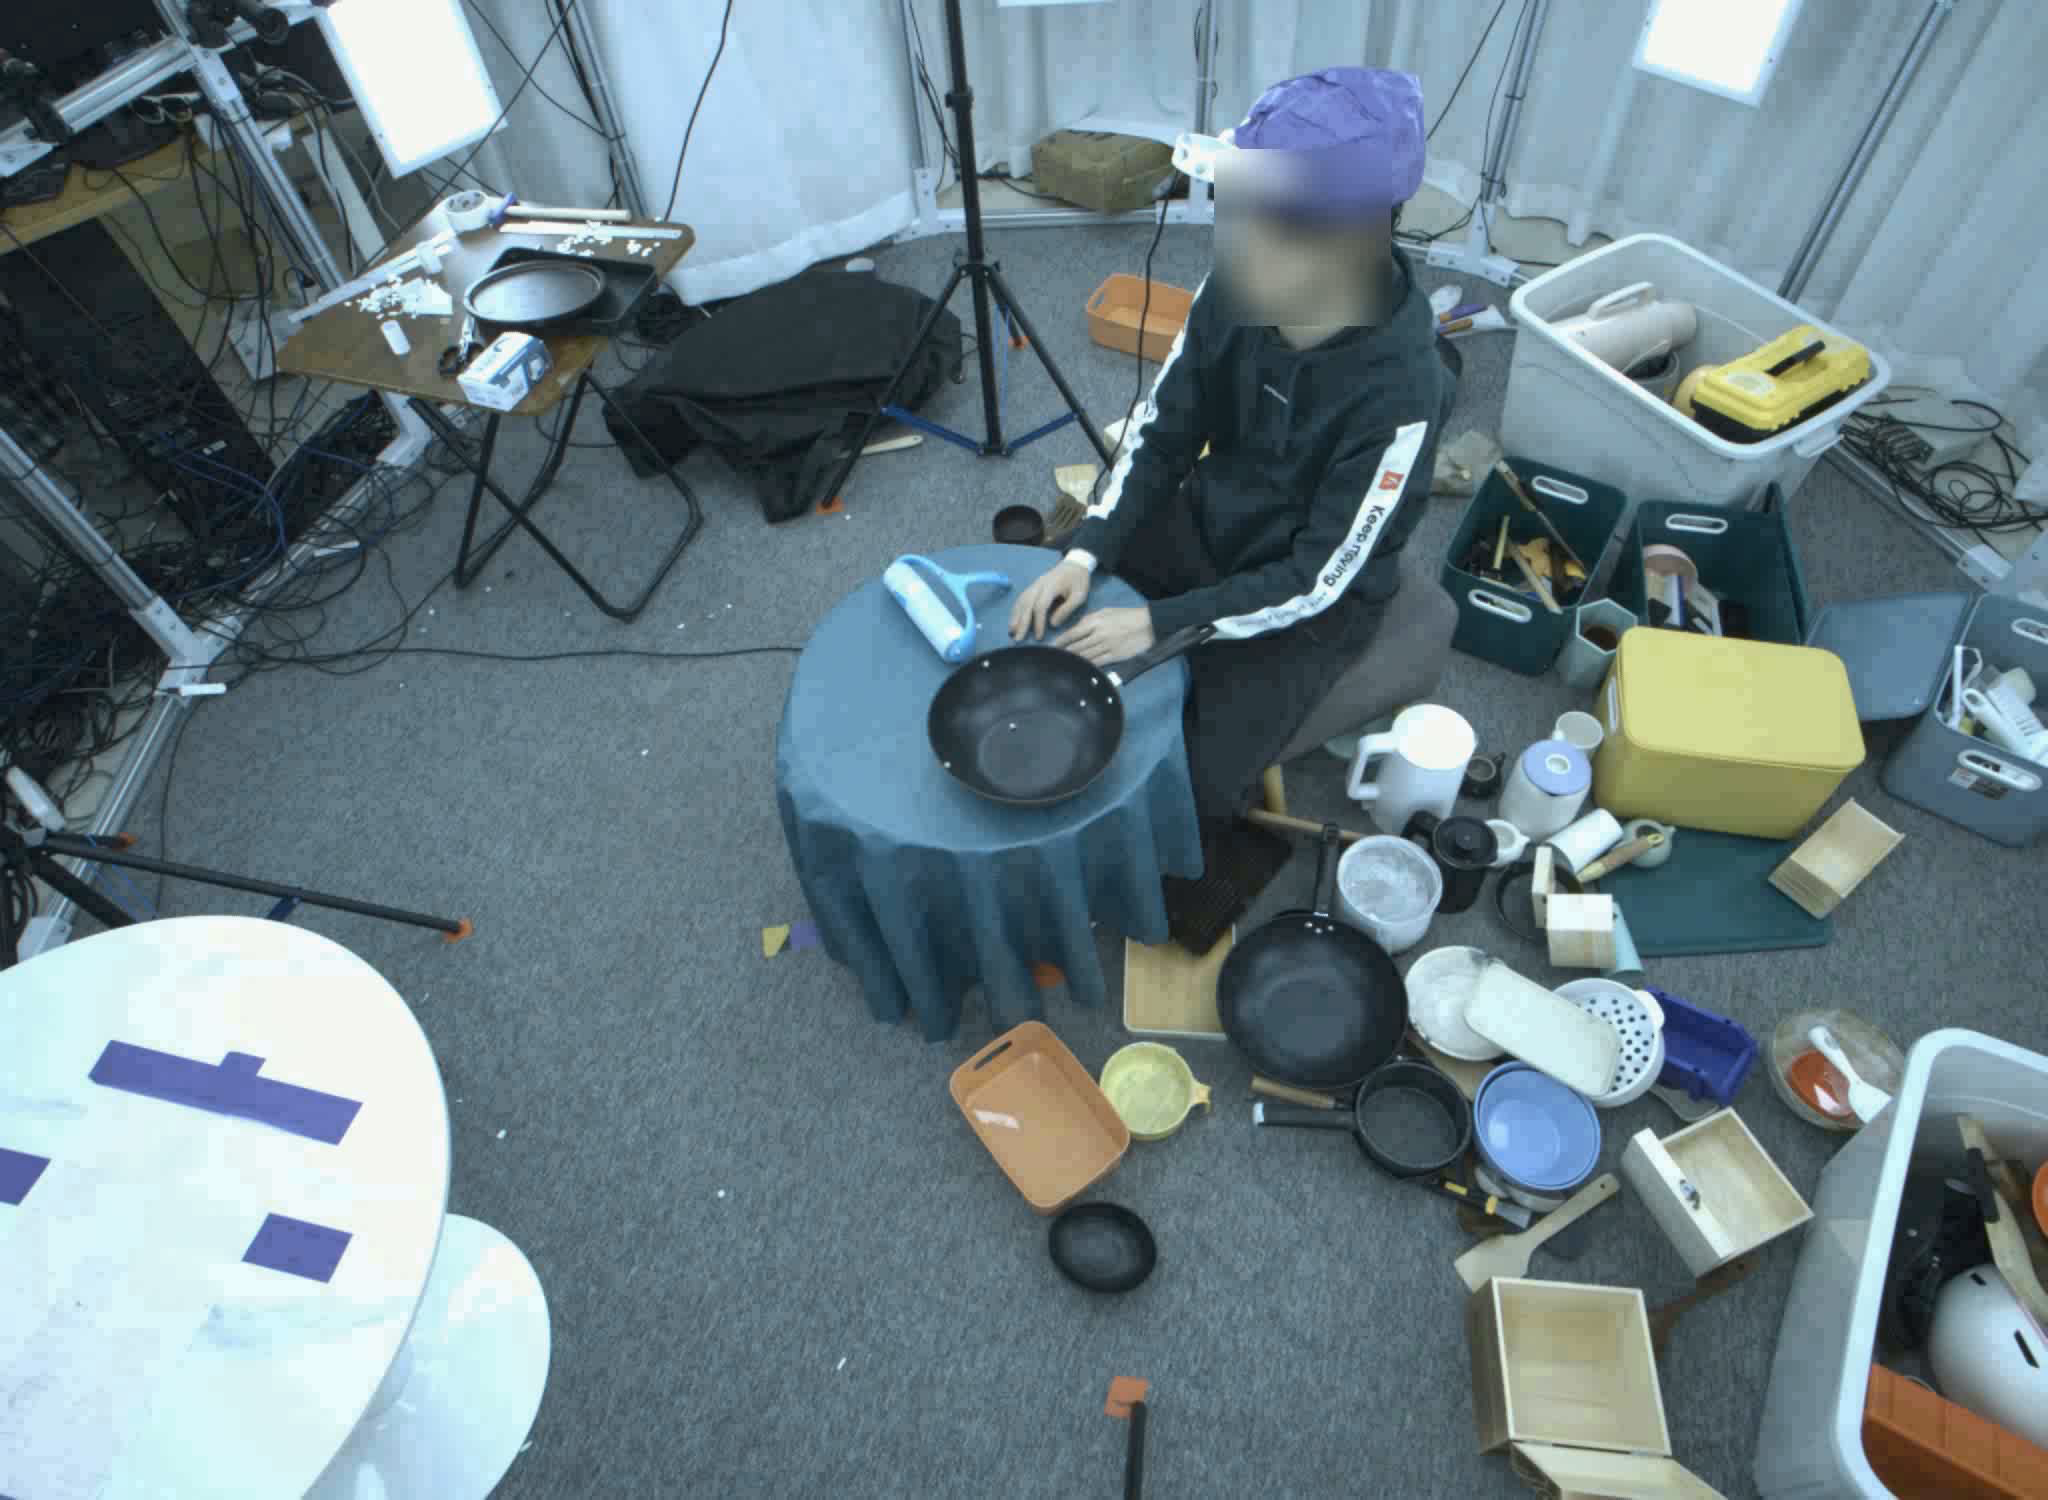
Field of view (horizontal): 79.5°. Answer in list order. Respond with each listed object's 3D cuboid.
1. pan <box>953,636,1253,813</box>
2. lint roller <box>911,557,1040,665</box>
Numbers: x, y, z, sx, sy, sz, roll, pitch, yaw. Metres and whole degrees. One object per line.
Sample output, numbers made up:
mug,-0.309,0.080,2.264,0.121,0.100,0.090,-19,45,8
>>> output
pan,0.122,-0.052,1.766,0.467,0.088,0.283,-25,58,-16
lint roller,-0.057,-0.242,1.923,0.181,0.069,0.224,-31,57,-17
